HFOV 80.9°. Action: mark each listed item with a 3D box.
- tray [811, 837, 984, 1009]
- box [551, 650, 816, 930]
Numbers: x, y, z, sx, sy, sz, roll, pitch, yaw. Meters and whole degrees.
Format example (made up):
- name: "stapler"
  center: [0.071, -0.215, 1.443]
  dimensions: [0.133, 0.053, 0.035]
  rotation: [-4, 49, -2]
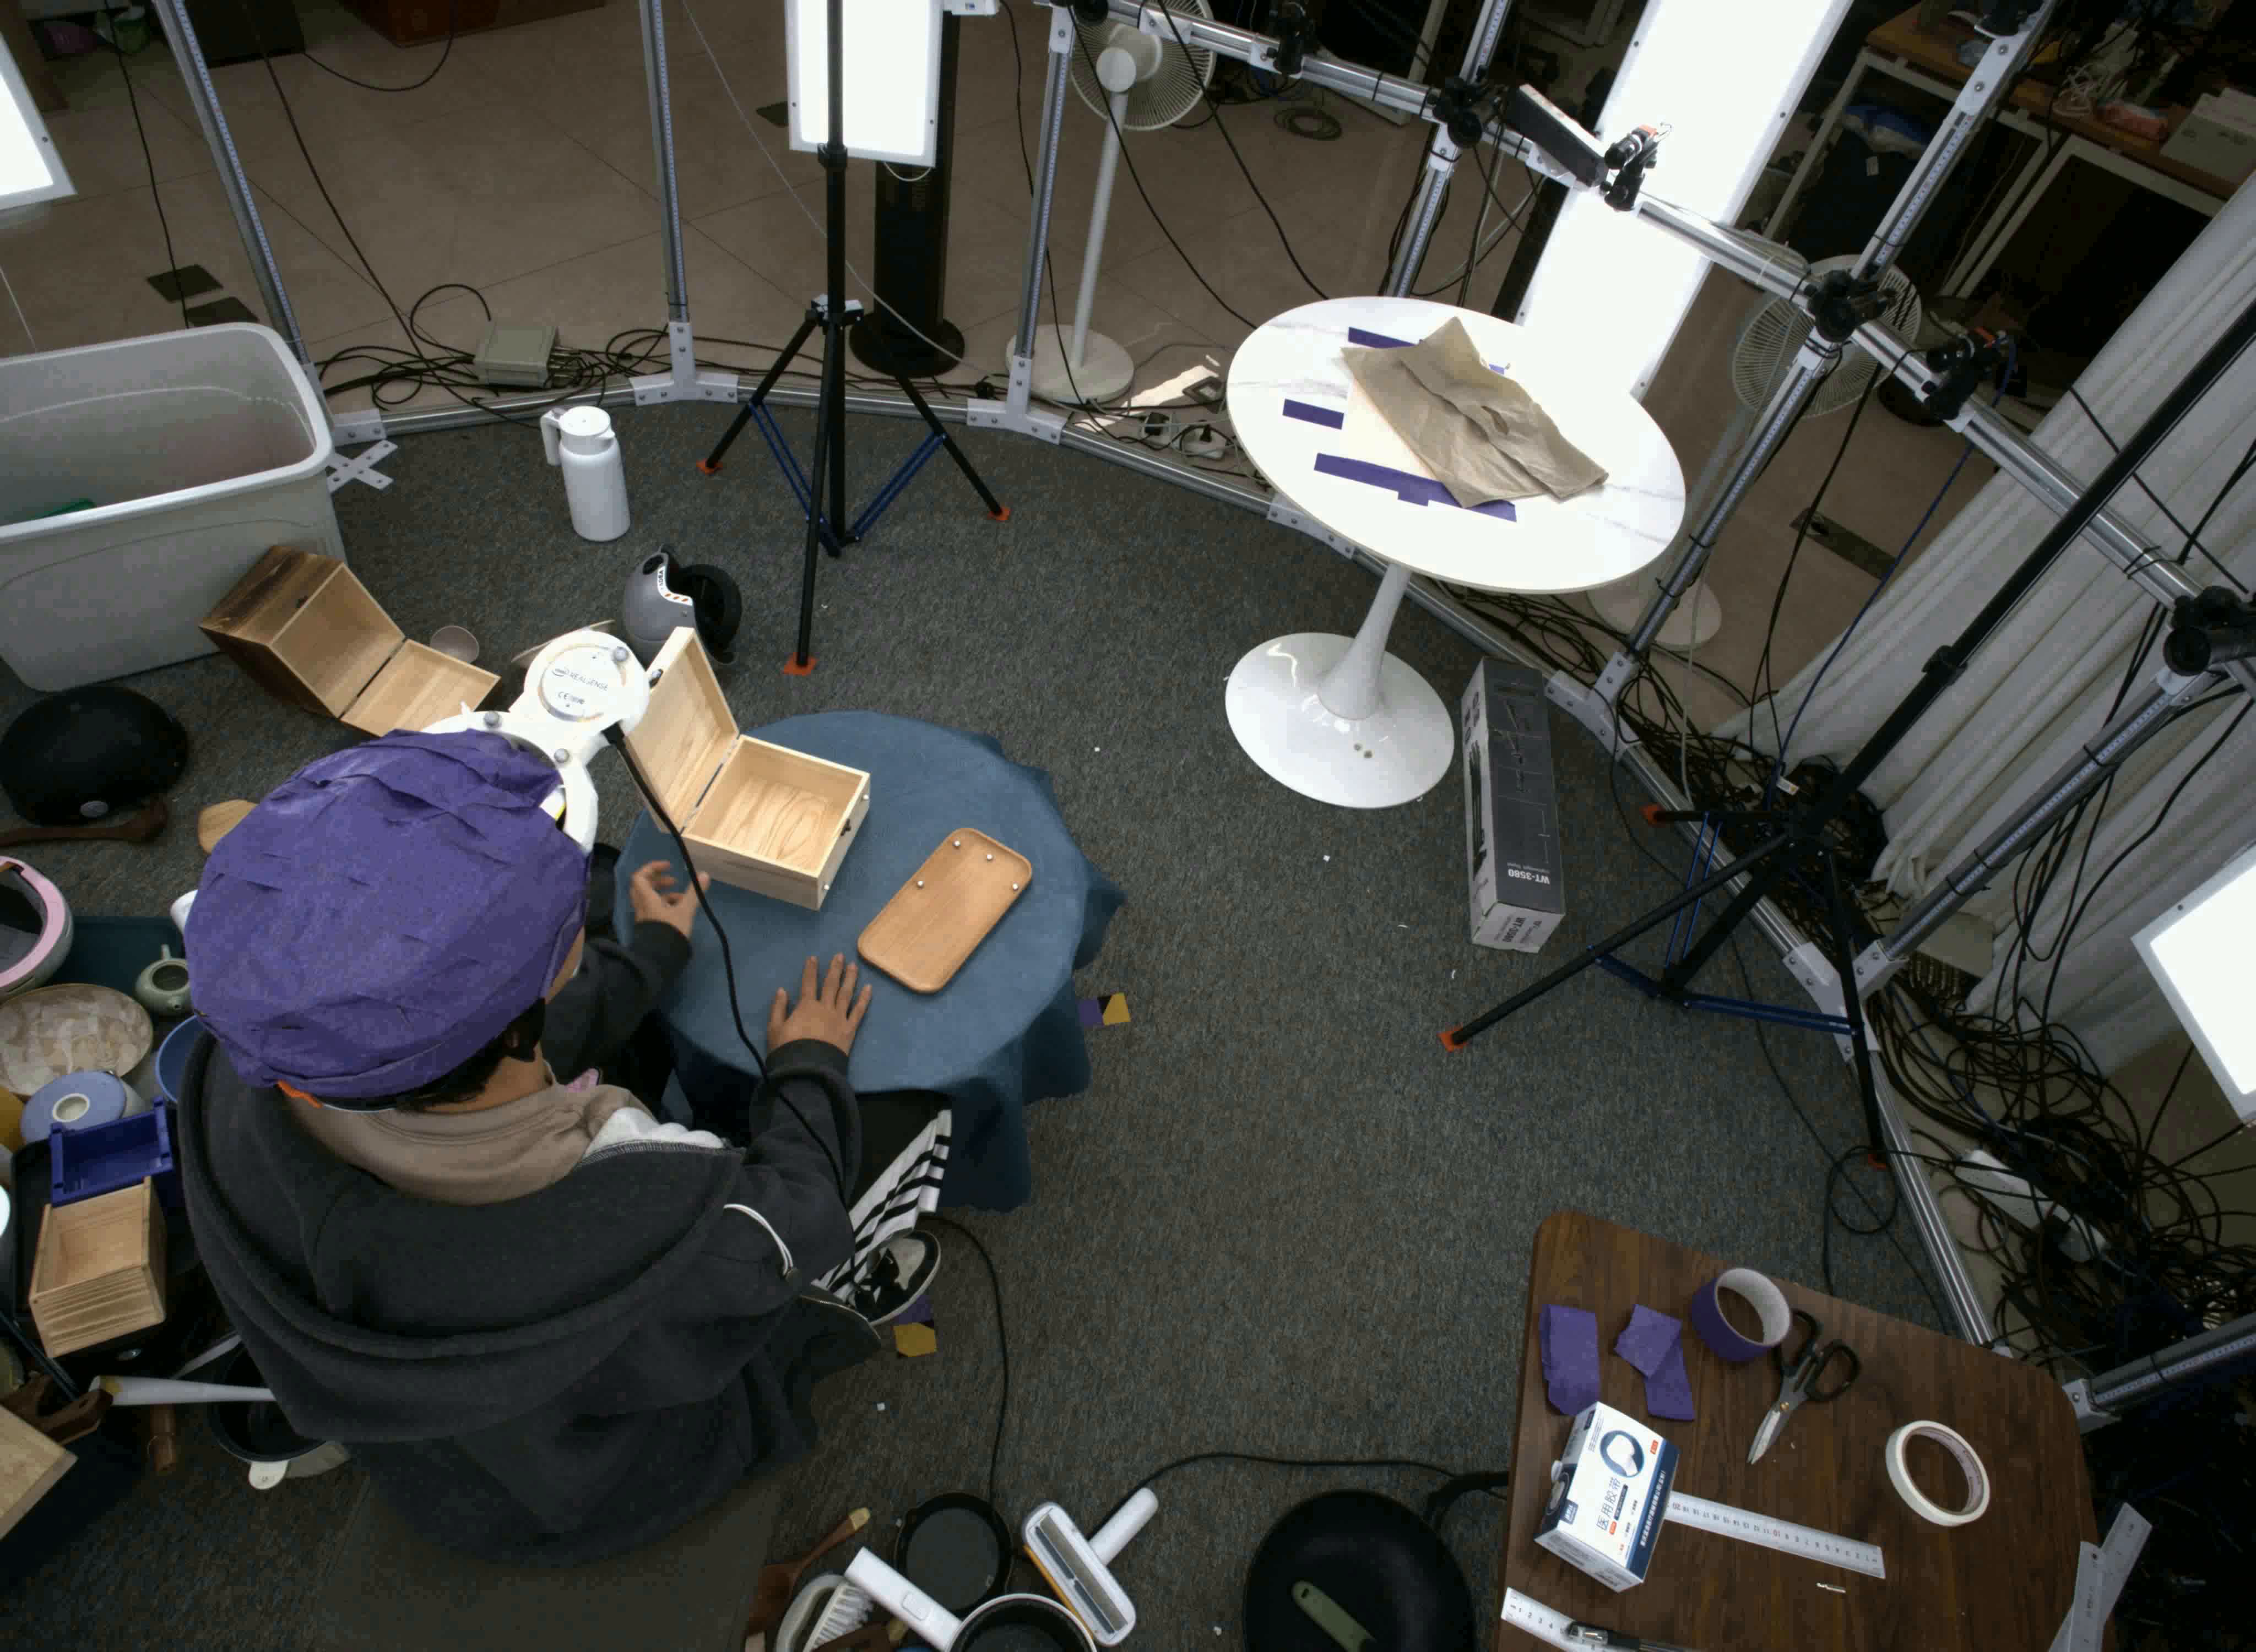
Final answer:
- name: "tray"
  center: [-0.291, 0.119, 1.663]
  dimensions: [0.128, 0.023, 0.249]
  rotation: [26, 52, 9]
- name: "box"
  center: [-0.536, -0.042, 1.574]
  dimensions: [0.263, 0.258, 0.179]
  rotation: [12, 54, -2]
